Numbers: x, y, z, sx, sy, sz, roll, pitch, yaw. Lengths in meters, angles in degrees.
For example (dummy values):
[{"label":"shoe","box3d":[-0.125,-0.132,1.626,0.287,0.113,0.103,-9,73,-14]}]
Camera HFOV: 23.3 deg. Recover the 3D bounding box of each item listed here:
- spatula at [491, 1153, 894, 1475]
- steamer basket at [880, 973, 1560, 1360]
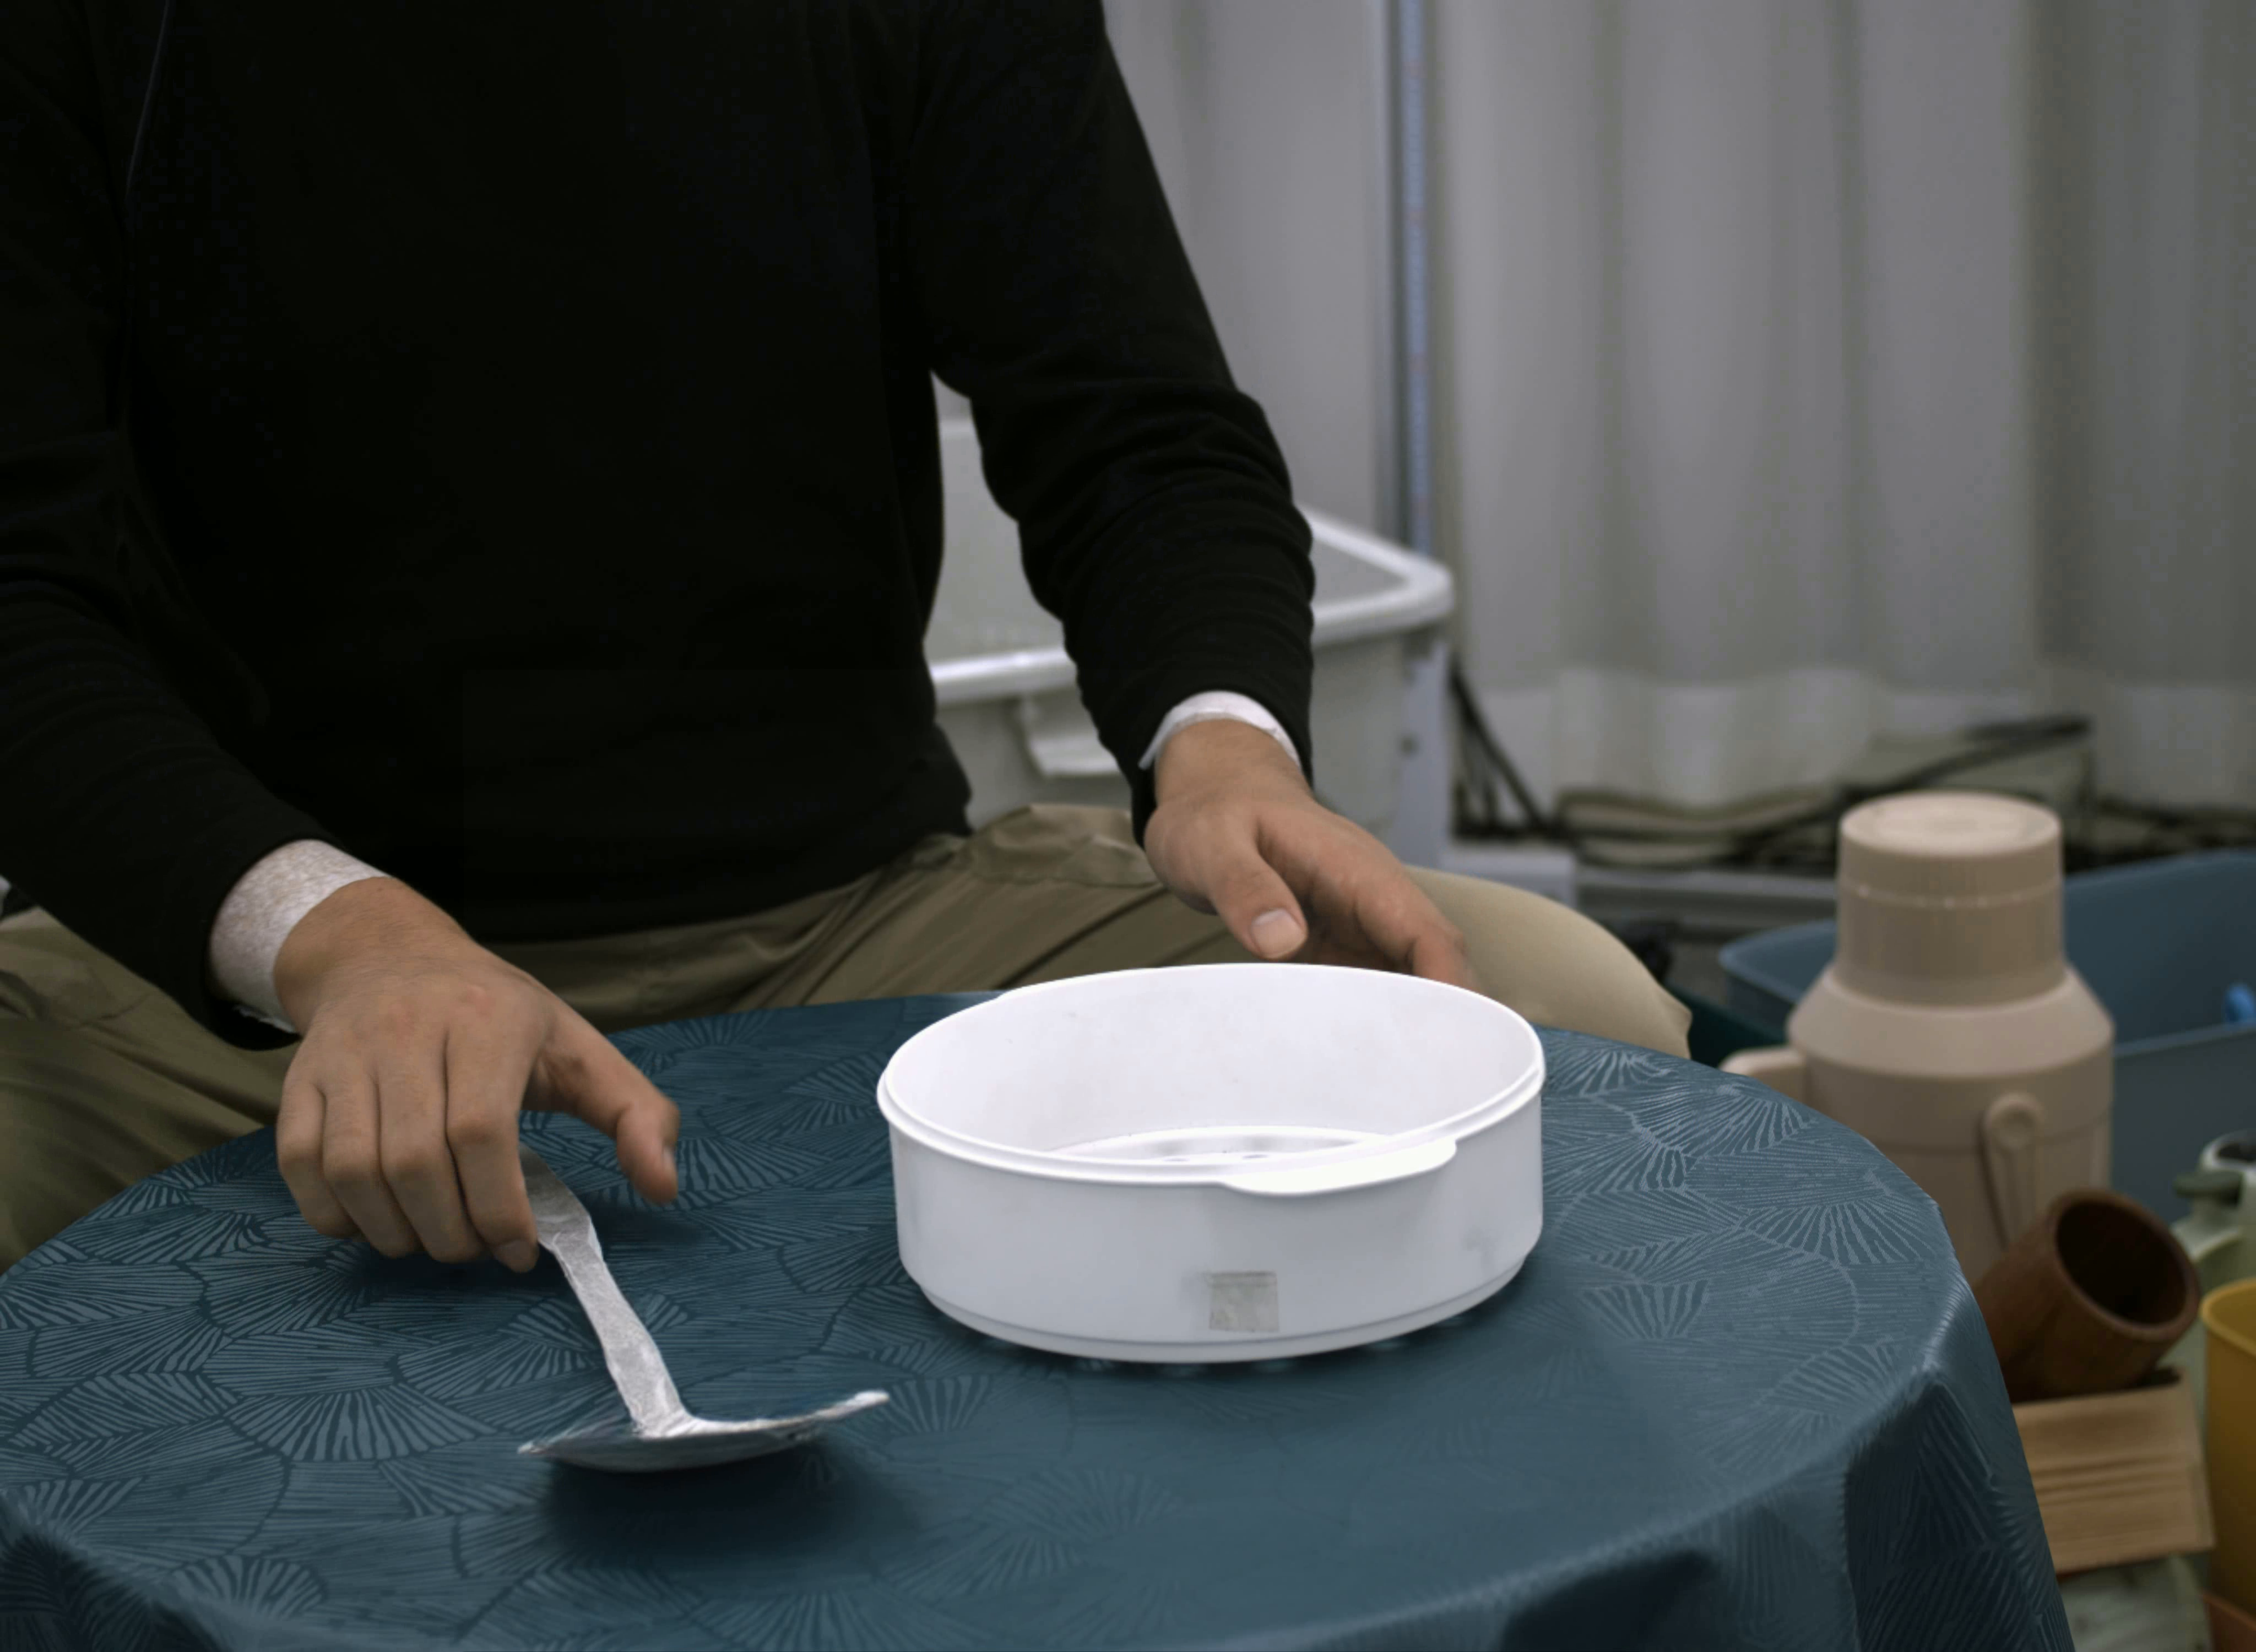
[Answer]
[{"label":"spatula","box3d":[-0.152,0.133,1.601,0.098,0.044,0.368,-7,15,-15]},{"label":"steamer basket","box3d":[0.028,0.101,1.626,0.201,0.069,0.232,-7,14,-19]}]
